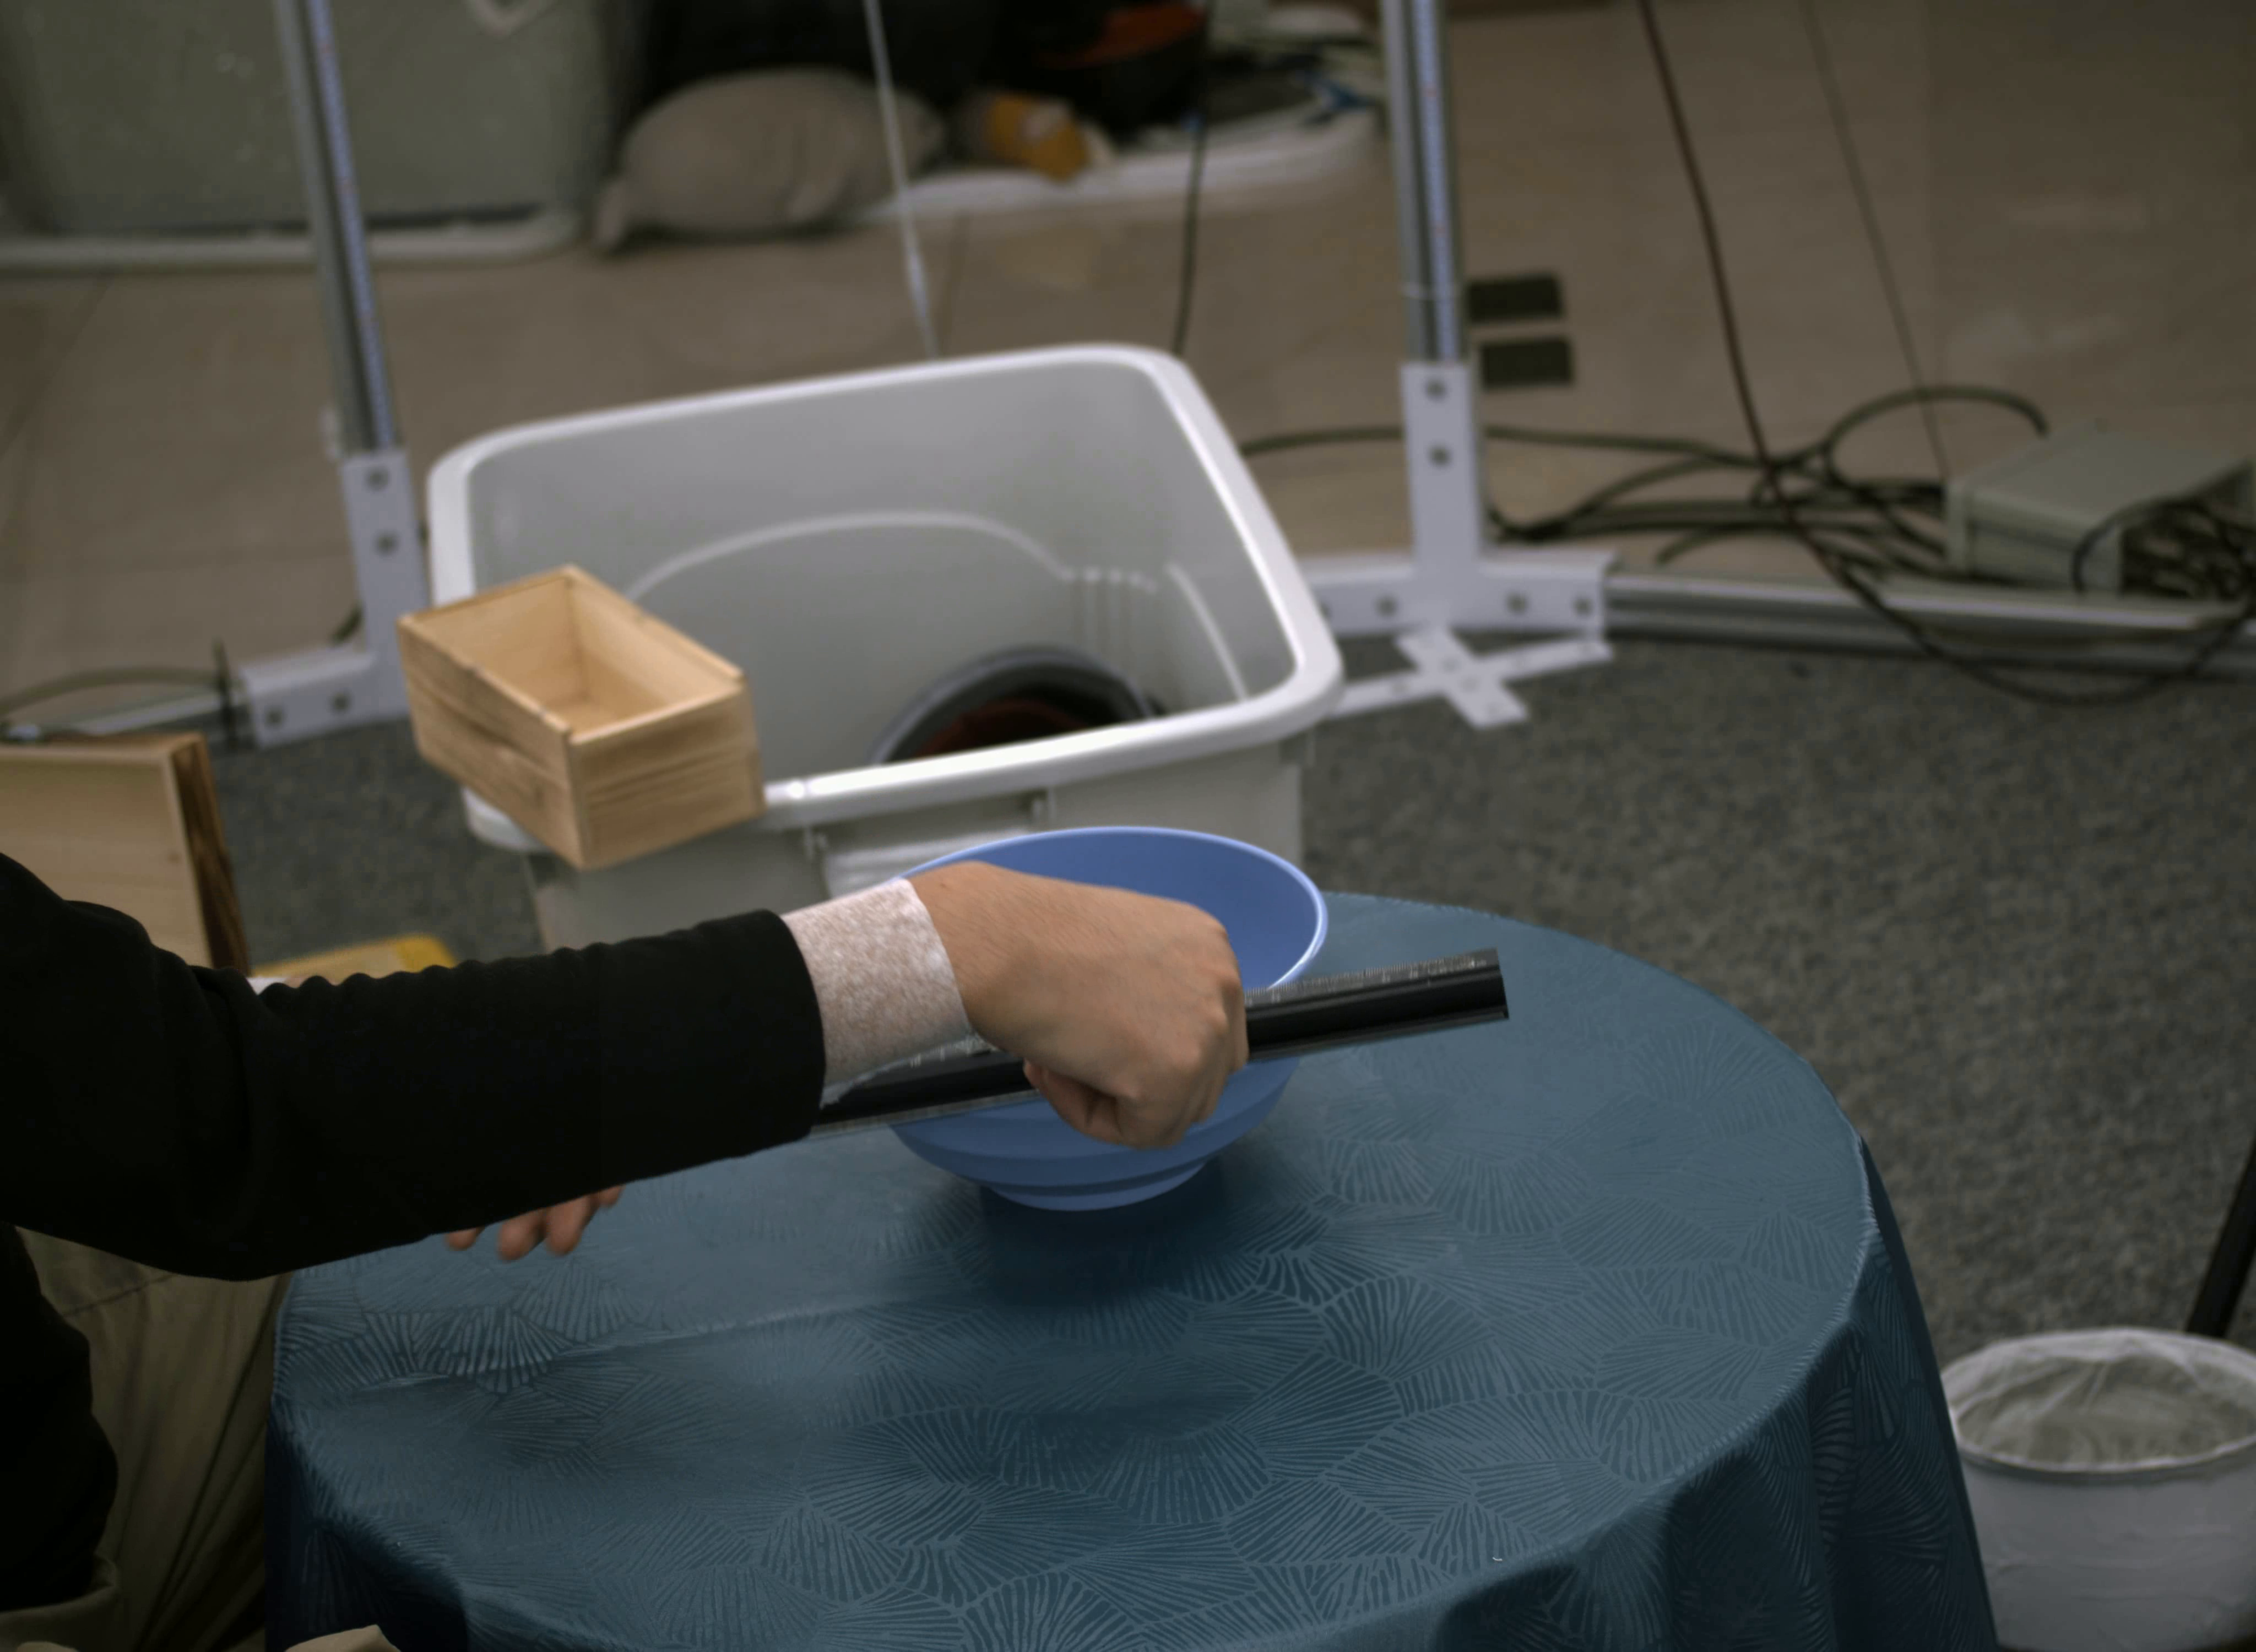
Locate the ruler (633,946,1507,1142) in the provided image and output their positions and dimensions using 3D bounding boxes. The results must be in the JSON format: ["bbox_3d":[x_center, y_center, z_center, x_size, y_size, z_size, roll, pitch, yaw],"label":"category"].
[{"bbox_3d":[-0.022,0.072,2.007,0.312,0.017,0.038,-9,36,5],"label":"ruler"}]

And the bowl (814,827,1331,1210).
[{"bbox_3d":[-0.017,0.084,2.156,0.196,0.097,0.193,-5,25,2],"label":"bowl"}]
